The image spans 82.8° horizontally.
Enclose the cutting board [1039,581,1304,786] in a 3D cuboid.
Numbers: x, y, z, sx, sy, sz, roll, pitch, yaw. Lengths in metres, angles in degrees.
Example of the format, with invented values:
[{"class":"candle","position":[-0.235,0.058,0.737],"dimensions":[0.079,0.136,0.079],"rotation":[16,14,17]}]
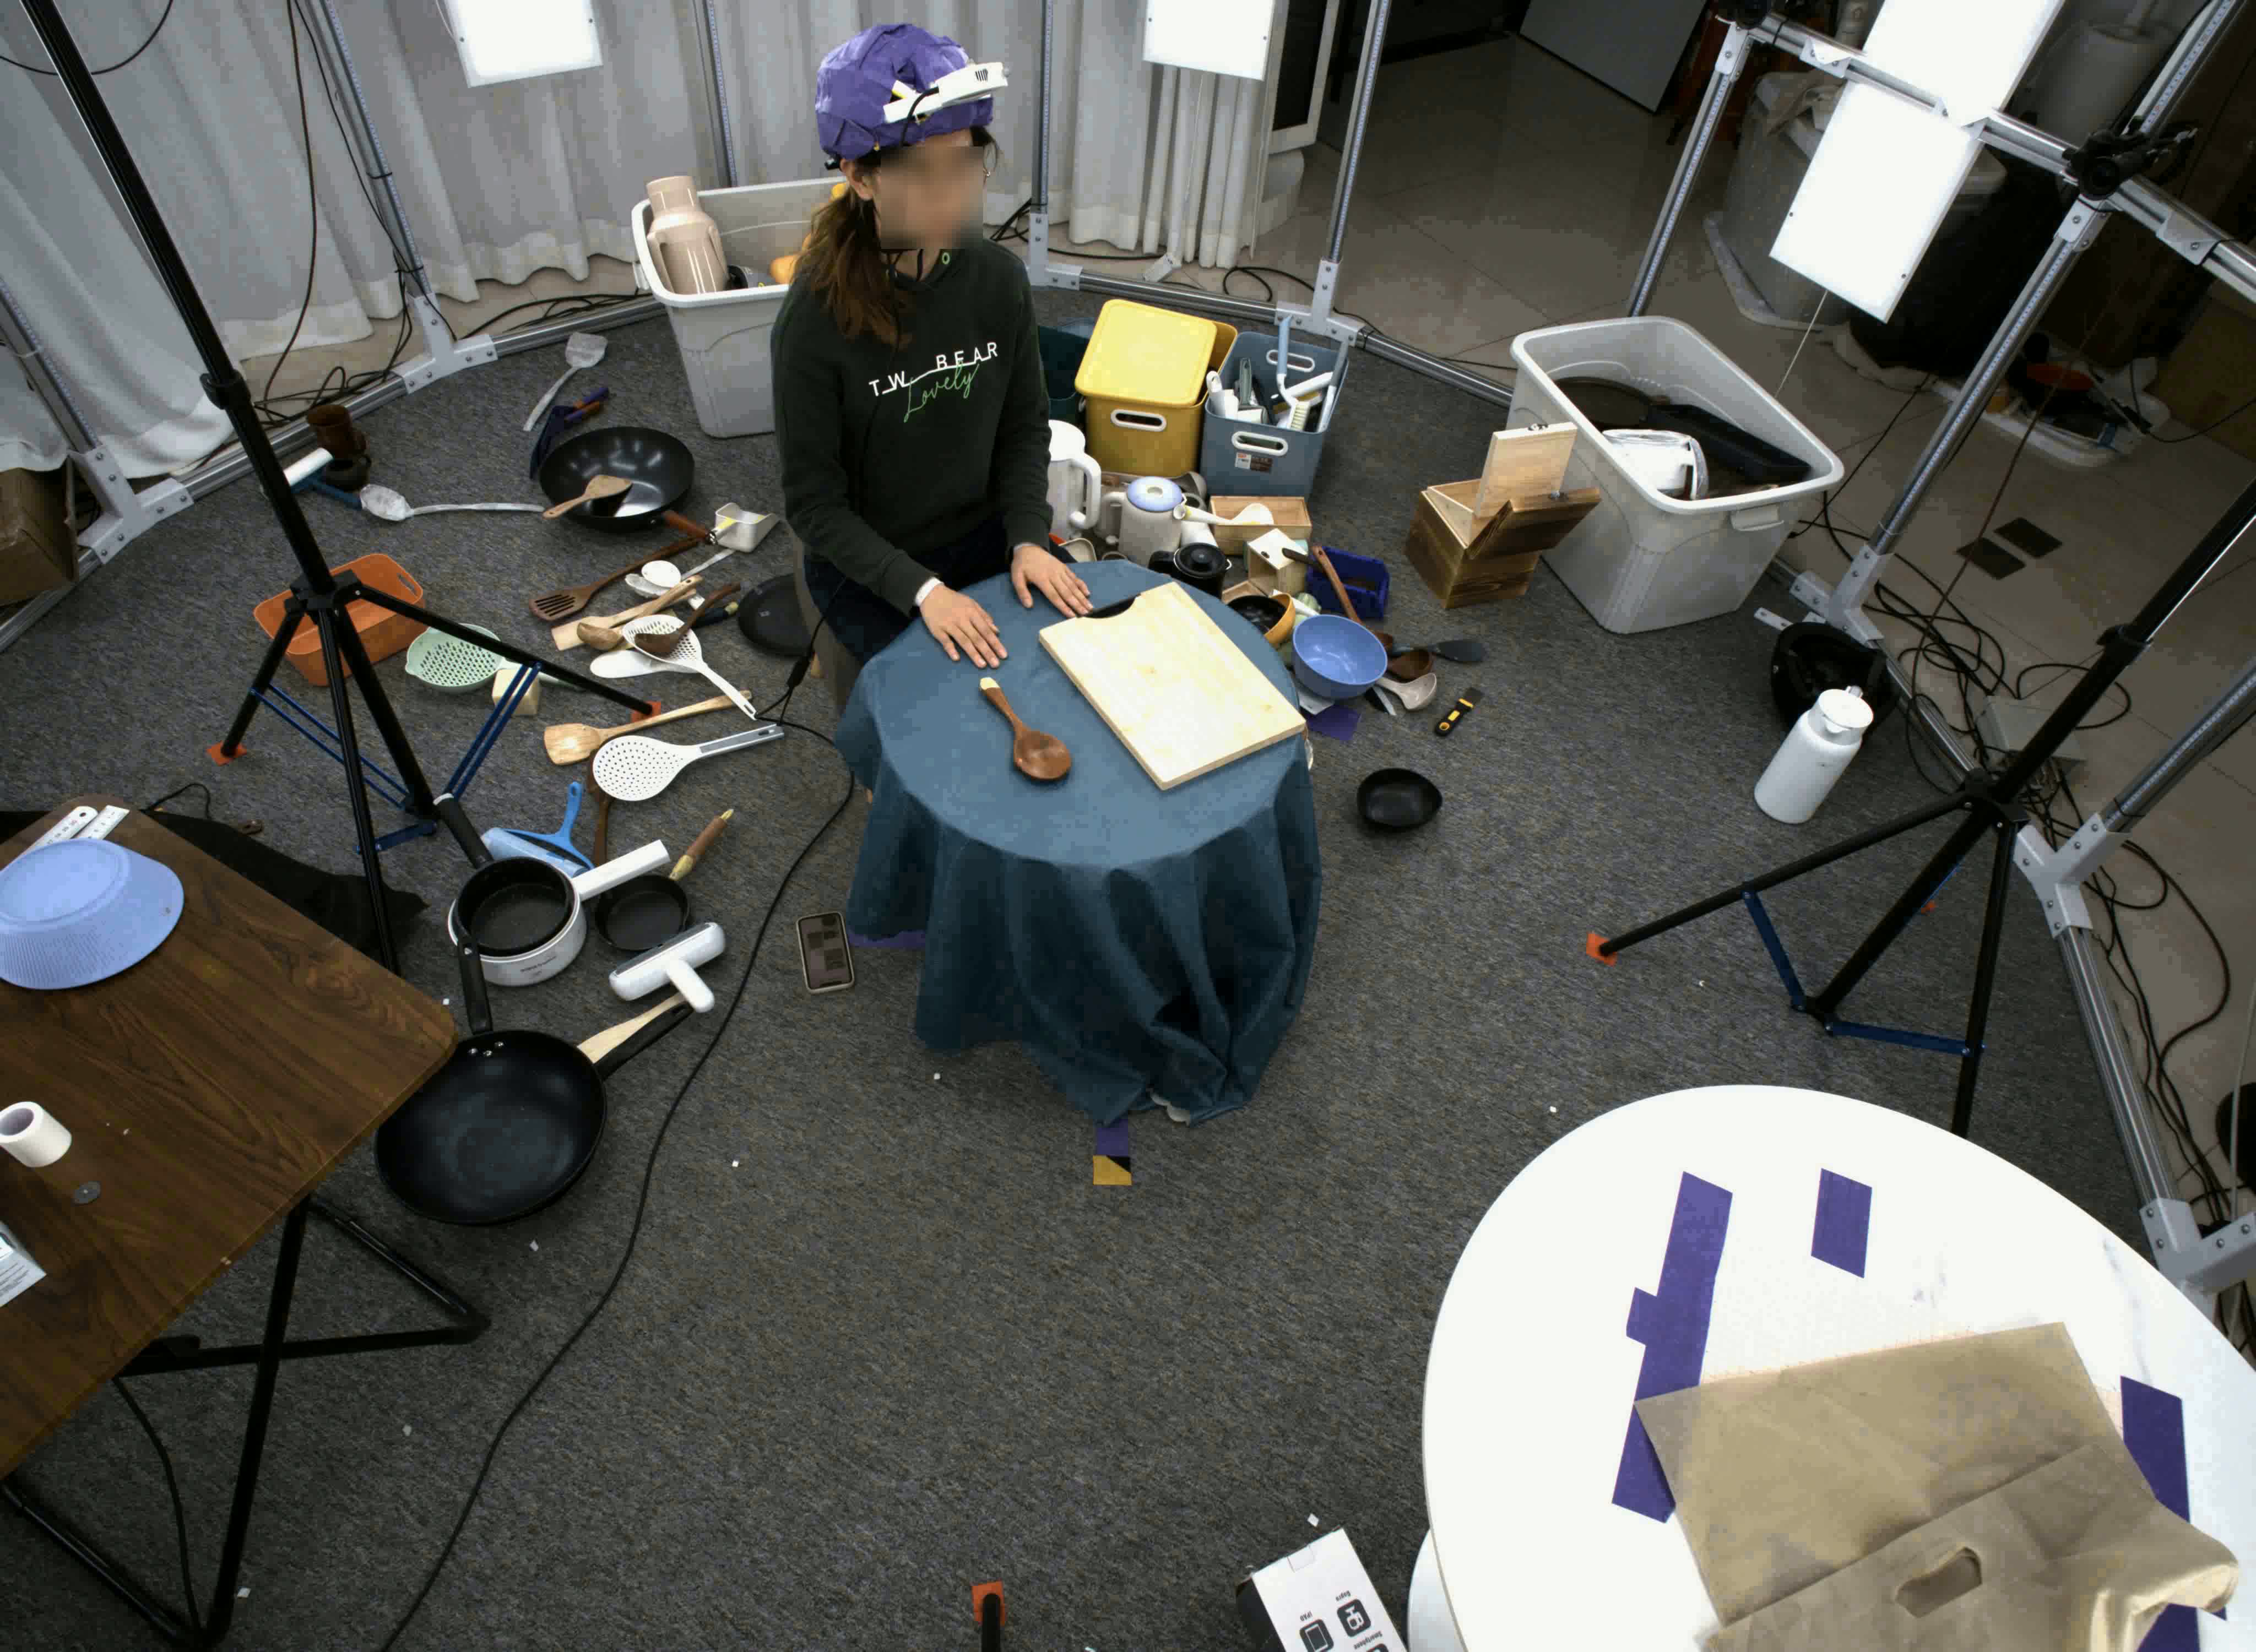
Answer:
[{"class":"cutting board","position":[0.057,-0.215,1.865],"dimensions":[0.251,0.023,0.356],"rotation":[-23,54,-23]}]

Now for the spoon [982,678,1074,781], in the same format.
[{"class":"spoon","position":[-0.146,-0.135,1.780],"dimensions":[0.076,0.017,0.220],"rotation":[-23,54,-21]}]
